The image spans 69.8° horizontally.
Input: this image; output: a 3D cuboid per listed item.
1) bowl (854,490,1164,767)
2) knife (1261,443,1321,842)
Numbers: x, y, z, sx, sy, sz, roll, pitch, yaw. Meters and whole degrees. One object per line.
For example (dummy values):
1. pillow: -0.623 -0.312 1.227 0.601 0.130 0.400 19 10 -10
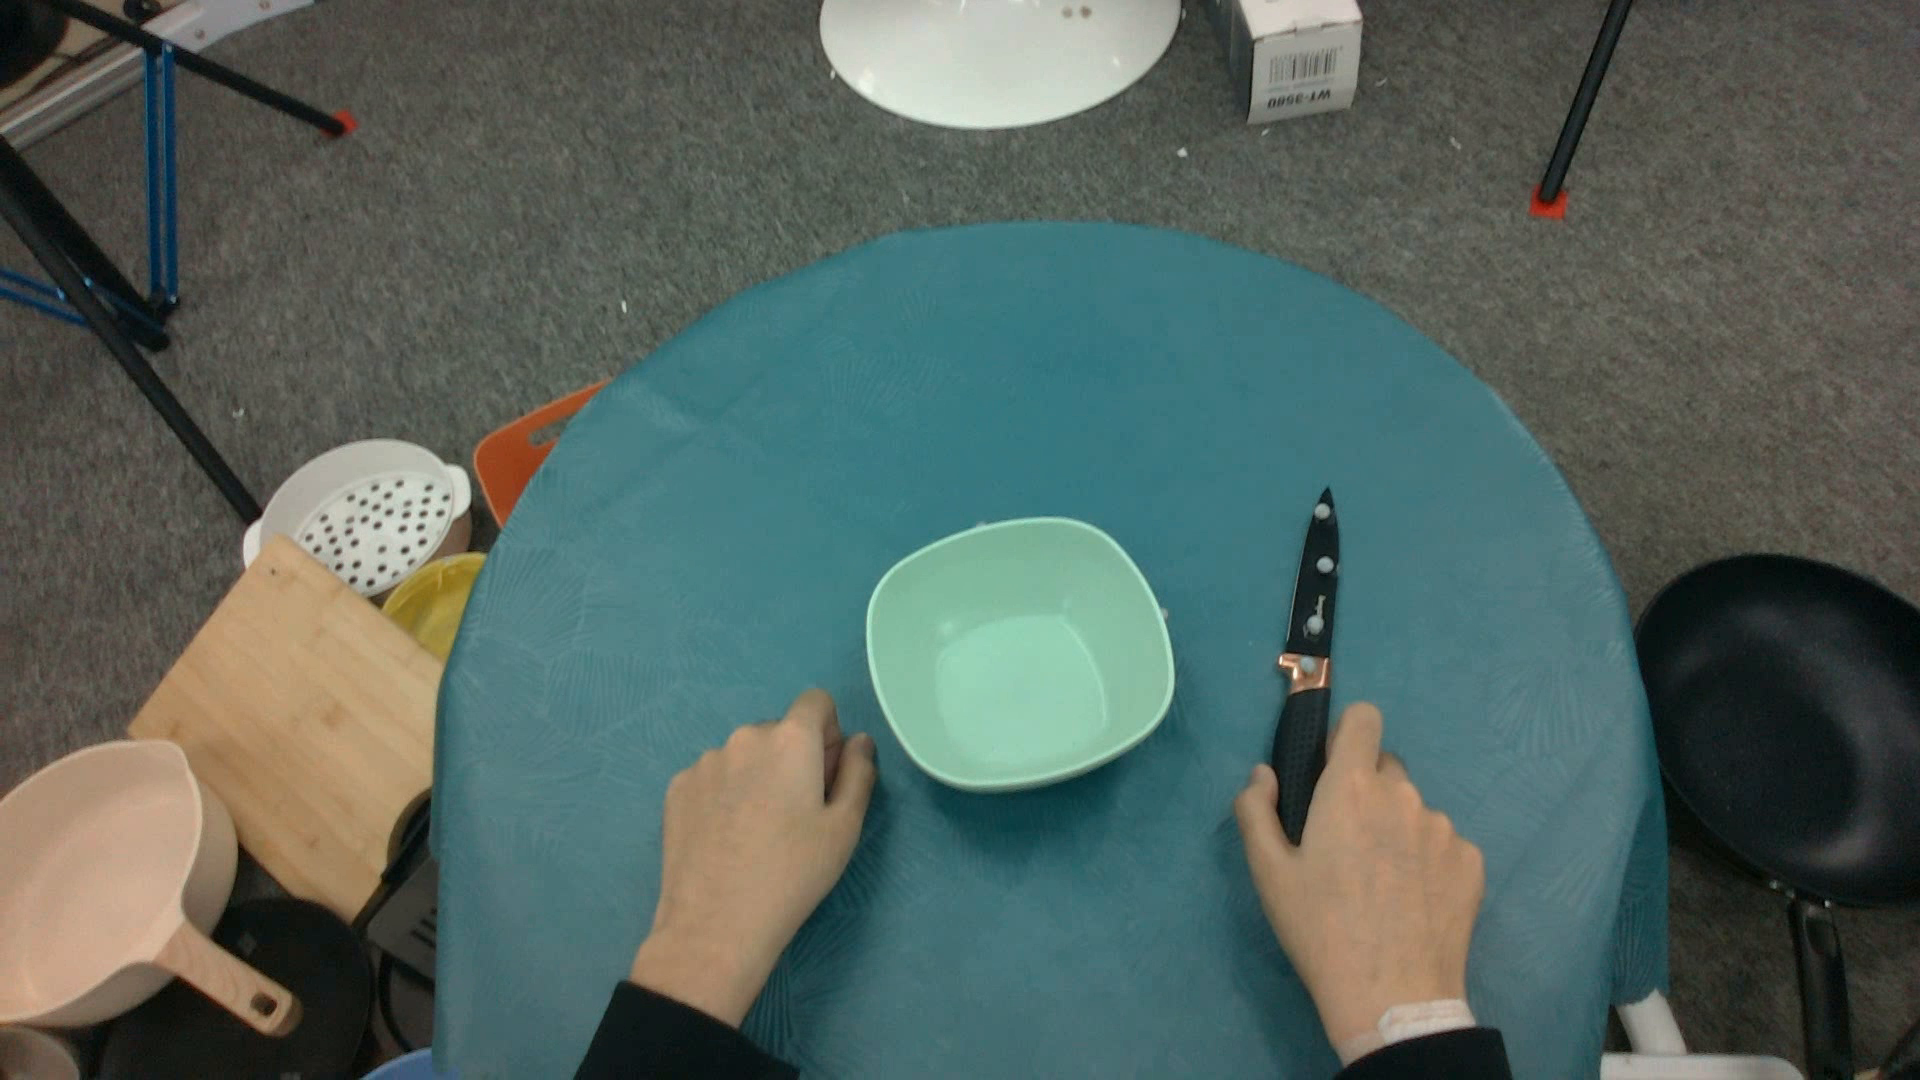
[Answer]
1. bowl: 0.023 0.050 0.659 0.151 0.058 0.152 -1 57 2
2. knife: 0.165 0.042 0.680 0.026 0.017 0.226 2 56 16
